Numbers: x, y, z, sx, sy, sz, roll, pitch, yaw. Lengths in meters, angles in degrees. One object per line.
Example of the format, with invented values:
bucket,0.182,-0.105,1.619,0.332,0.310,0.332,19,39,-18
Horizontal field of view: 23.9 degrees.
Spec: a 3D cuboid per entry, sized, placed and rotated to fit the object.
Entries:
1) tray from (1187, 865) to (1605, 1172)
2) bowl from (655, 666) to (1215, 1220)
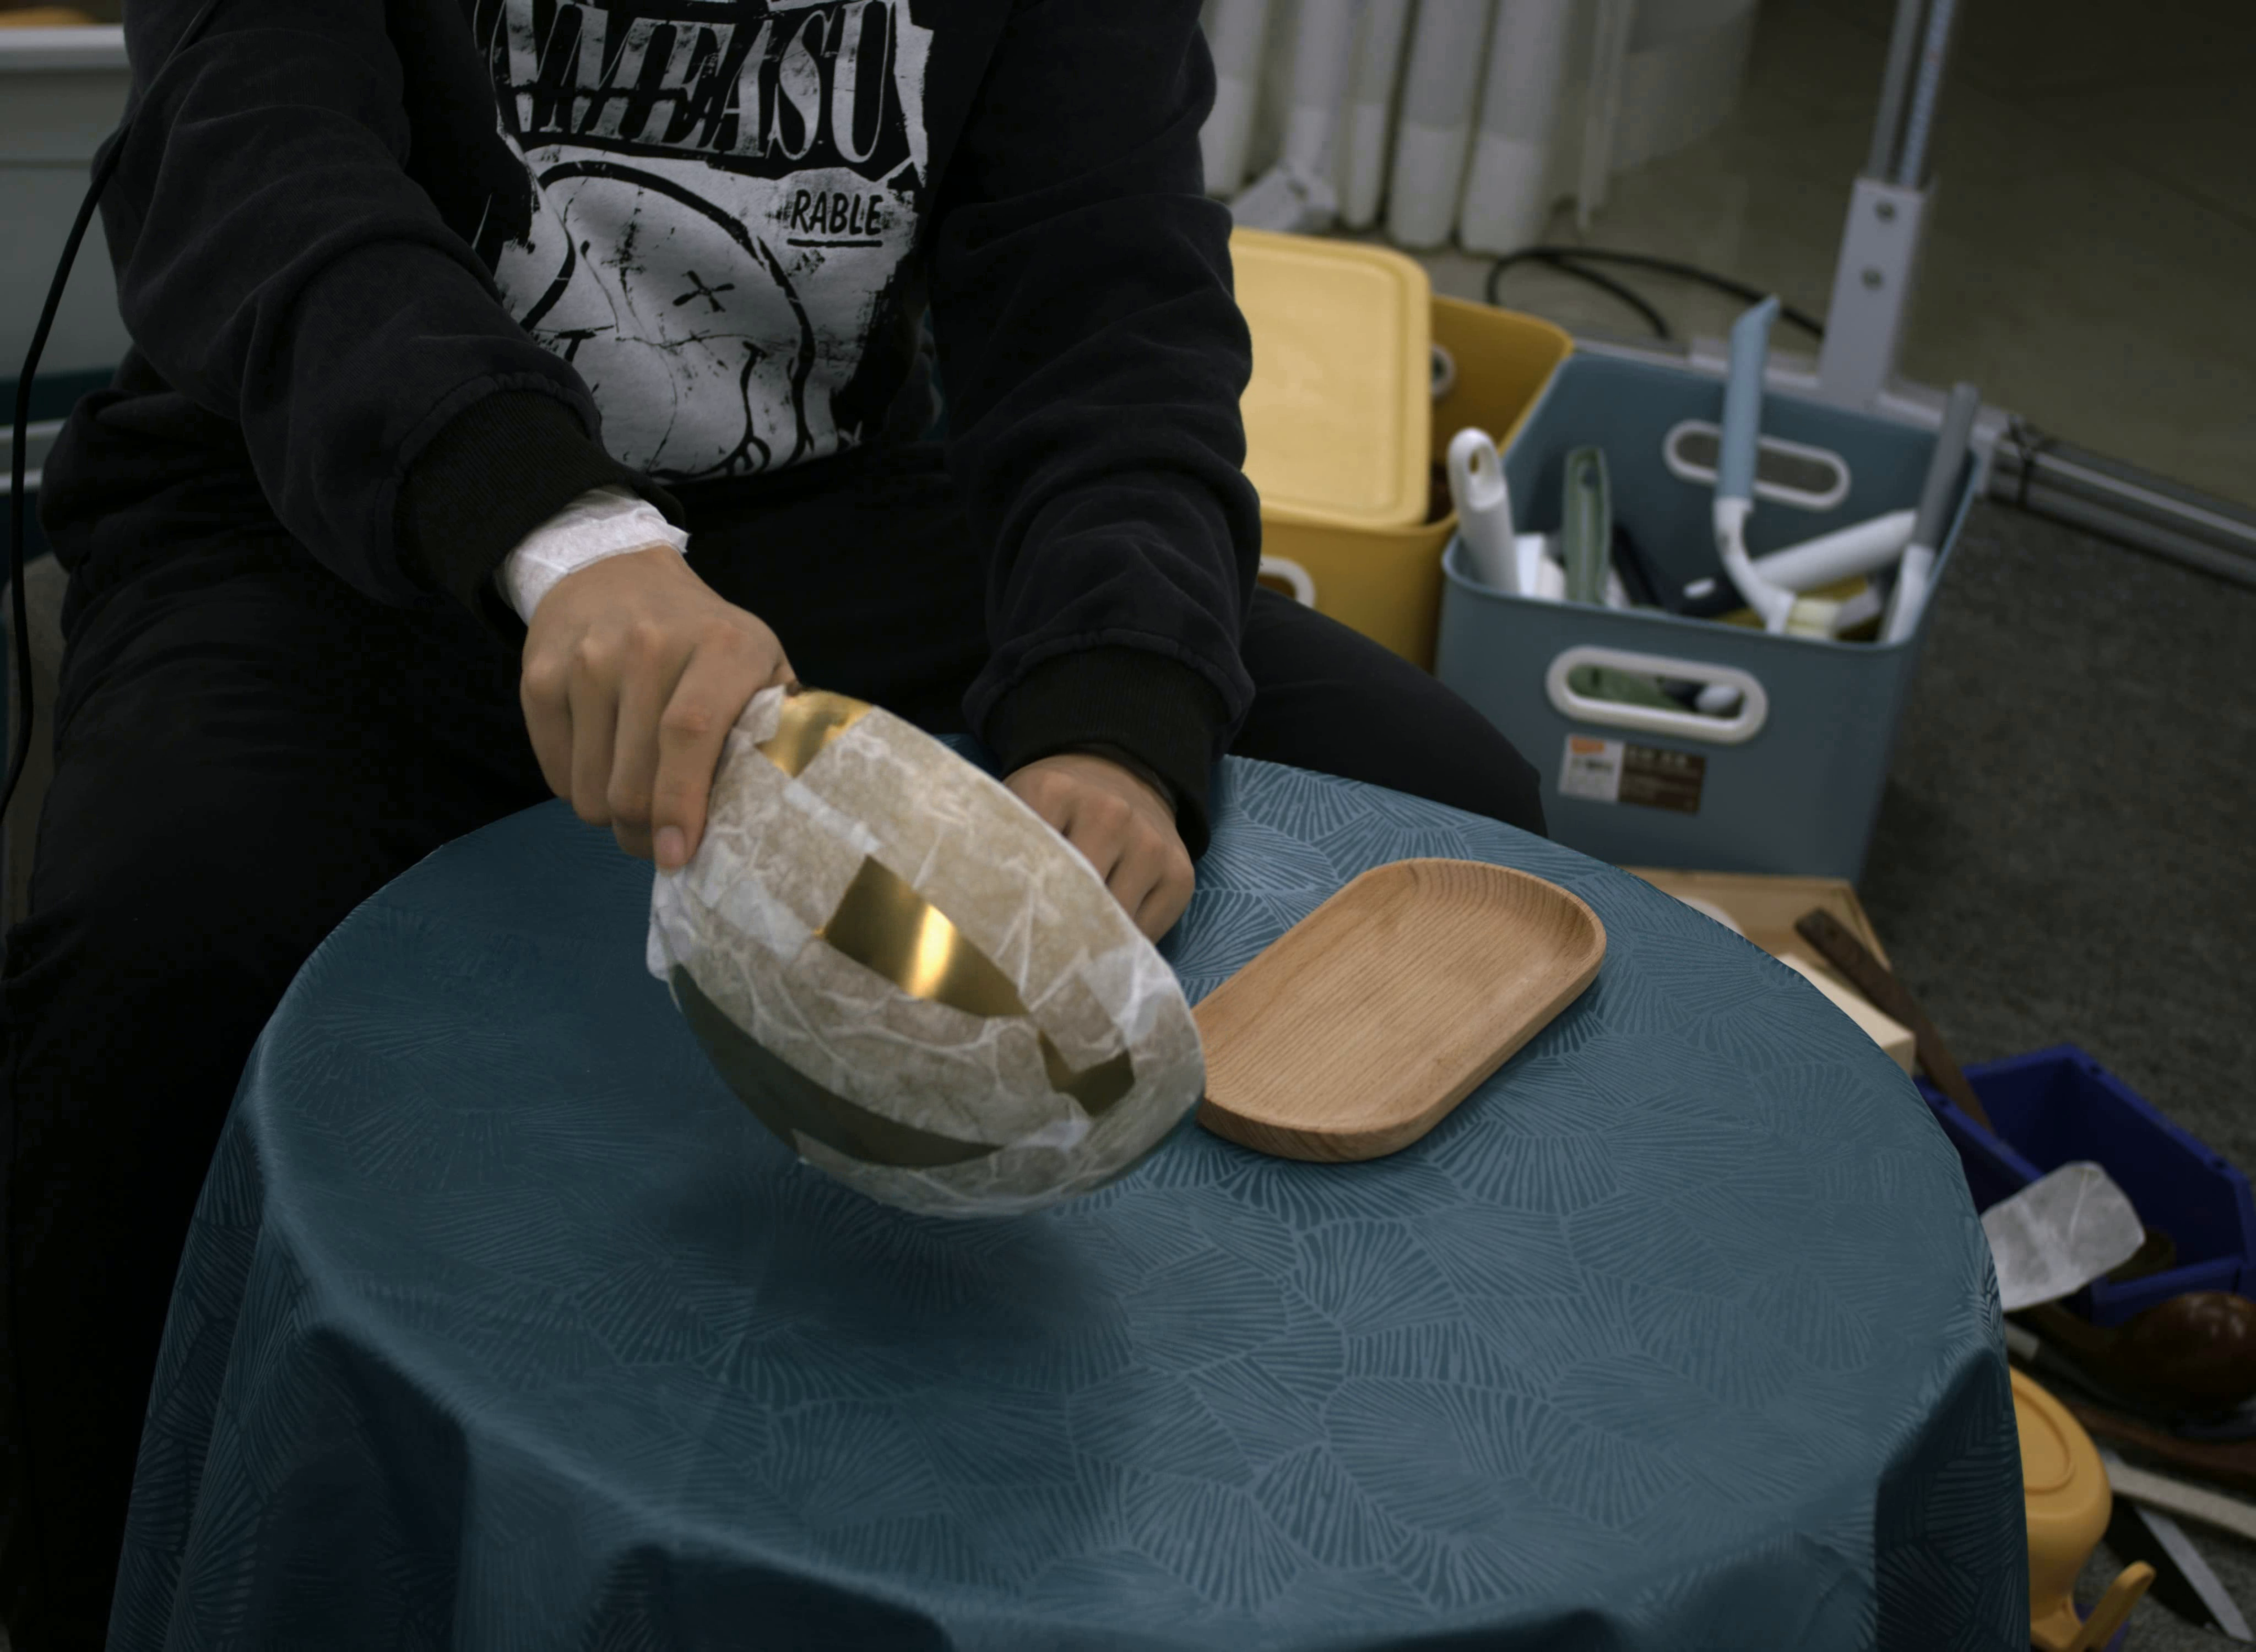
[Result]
tray,0.095,0.068,1.916,0.102,0.020,0.231,16,30,24
bowl,-0.079,0.058,1.697,0.216,0.213,0.094,26,63,33
